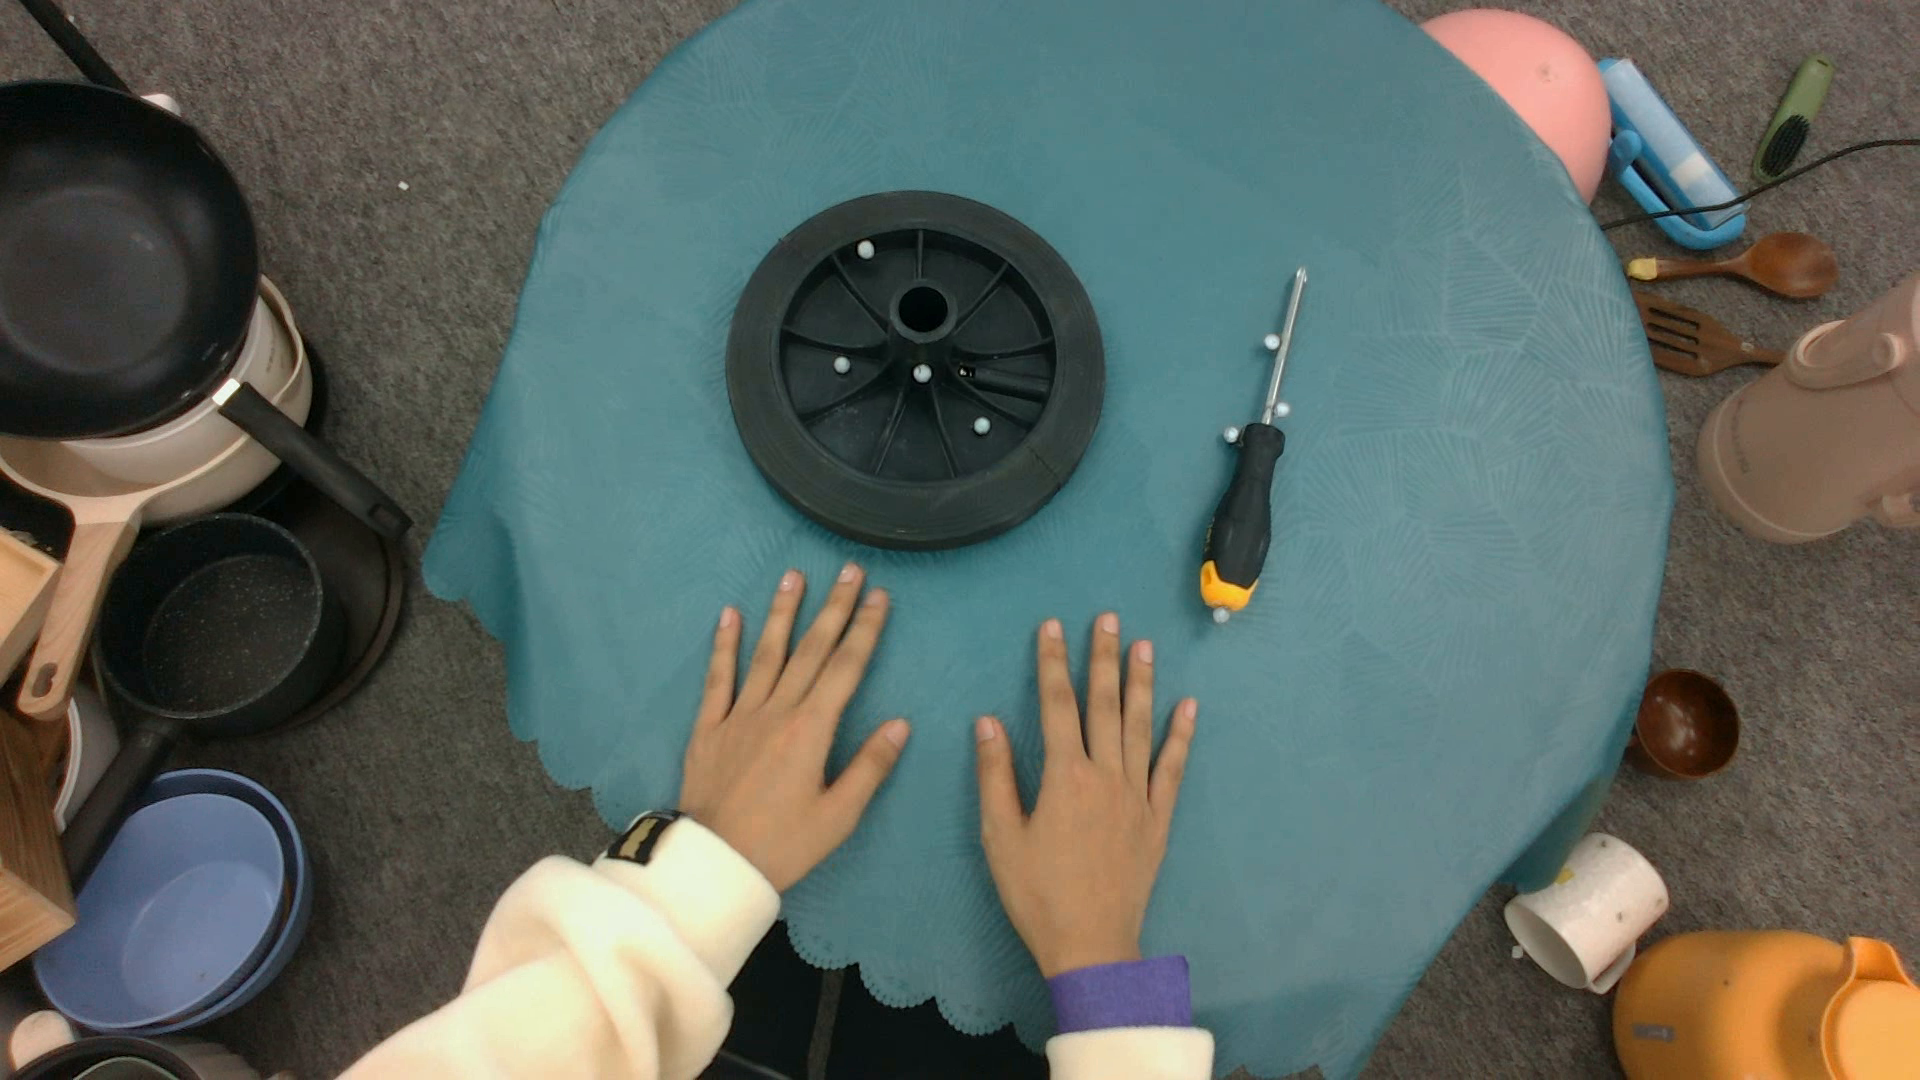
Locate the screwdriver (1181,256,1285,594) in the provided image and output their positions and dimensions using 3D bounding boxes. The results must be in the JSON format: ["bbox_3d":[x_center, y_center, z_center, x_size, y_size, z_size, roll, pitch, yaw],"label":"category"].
[{"bbox_3d":[0.141,-0.065,0.697,0.031,0.031,0.197,14,70,0],"label":"screwdriver"}]

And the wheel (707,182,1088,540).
[{"bbox_3d":[-0.027,-0.098,0.666,0.190,0.079,0.188,-11,74,-12],"label":"wheel"}]
